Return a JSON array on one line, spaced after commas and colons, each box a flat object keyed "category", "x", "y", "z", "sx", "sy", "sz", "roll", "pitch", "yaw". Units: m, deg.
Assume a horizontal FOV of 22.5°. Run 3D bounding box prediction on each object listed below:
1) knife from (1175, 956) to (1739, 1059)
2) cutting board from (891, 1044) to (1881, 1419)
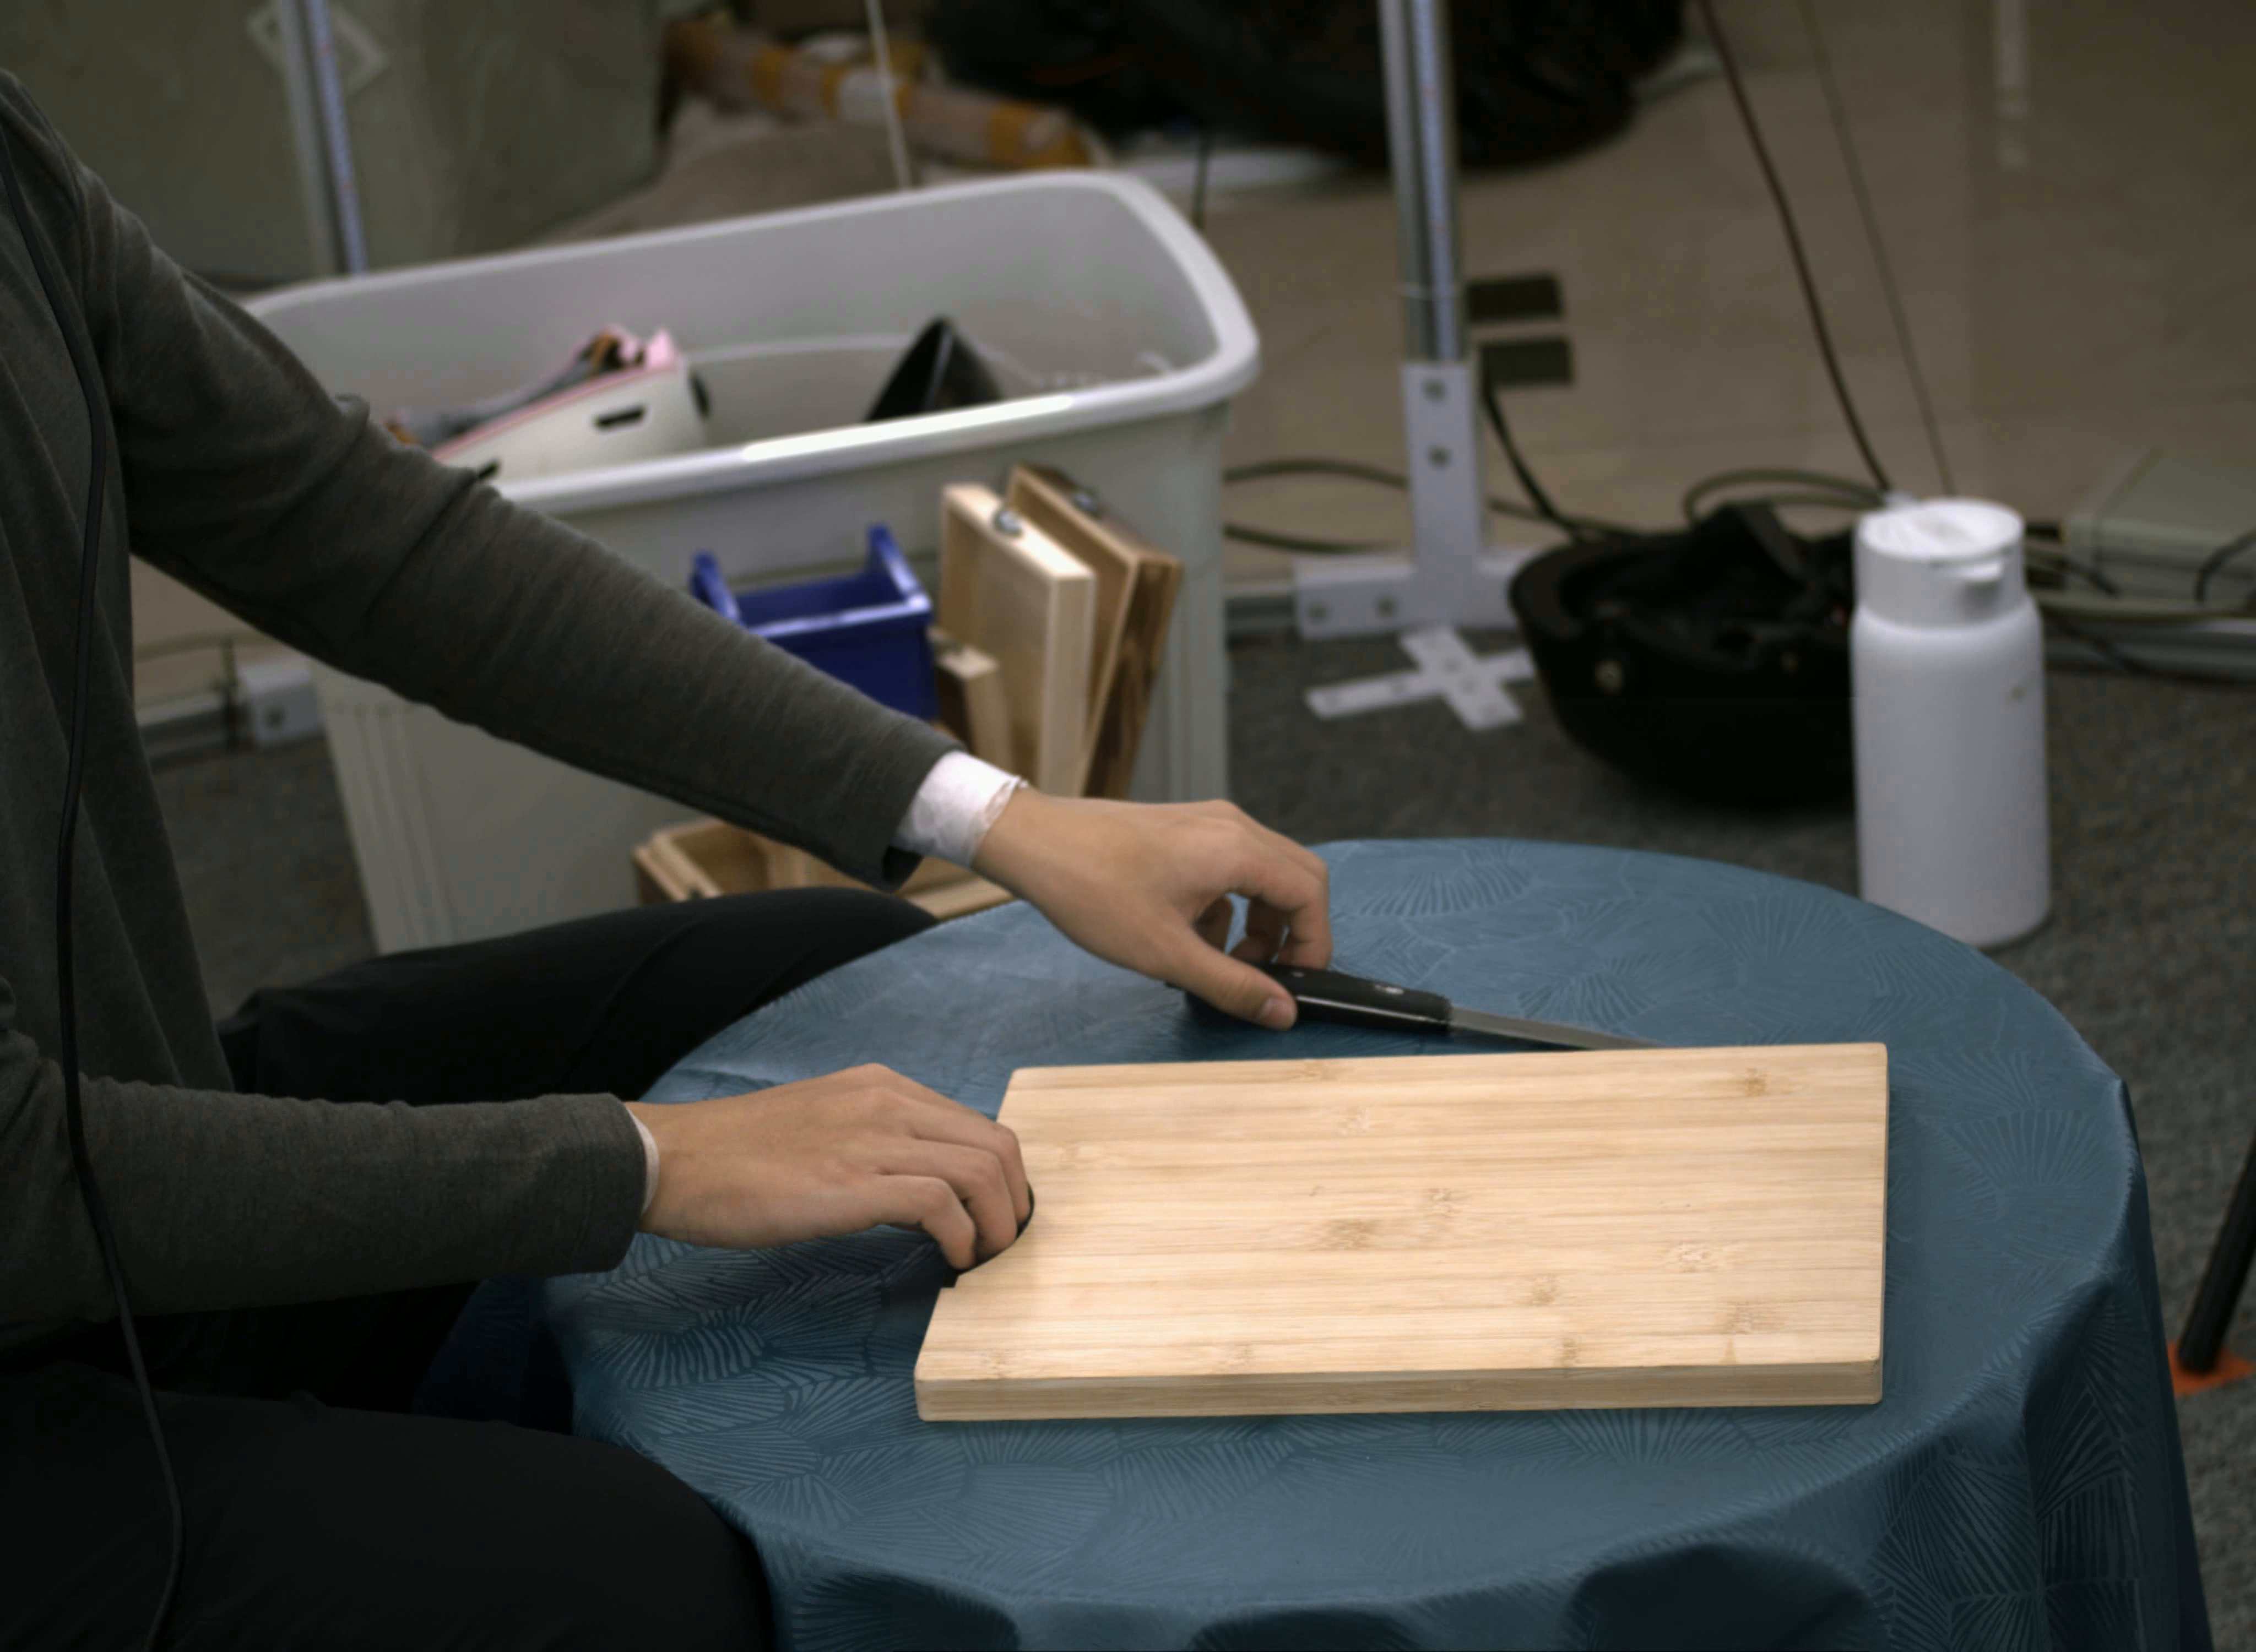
[{"category": "knife", "x": 0.127, "y": 0.075, "z": 2.243, "sx": 0.237, "sy": 0.016, "sz": 0.024, "roll": 8, "pitch": 23, "yaw": 21}, {"category": "cutting board", "x": 0.102, "y": 0.147, "z": 2.089, "sx": 0.348, "sy": 0.024, "sz": 0.247, "roll": -2, "pitch": 24, "yaw": 9}]
